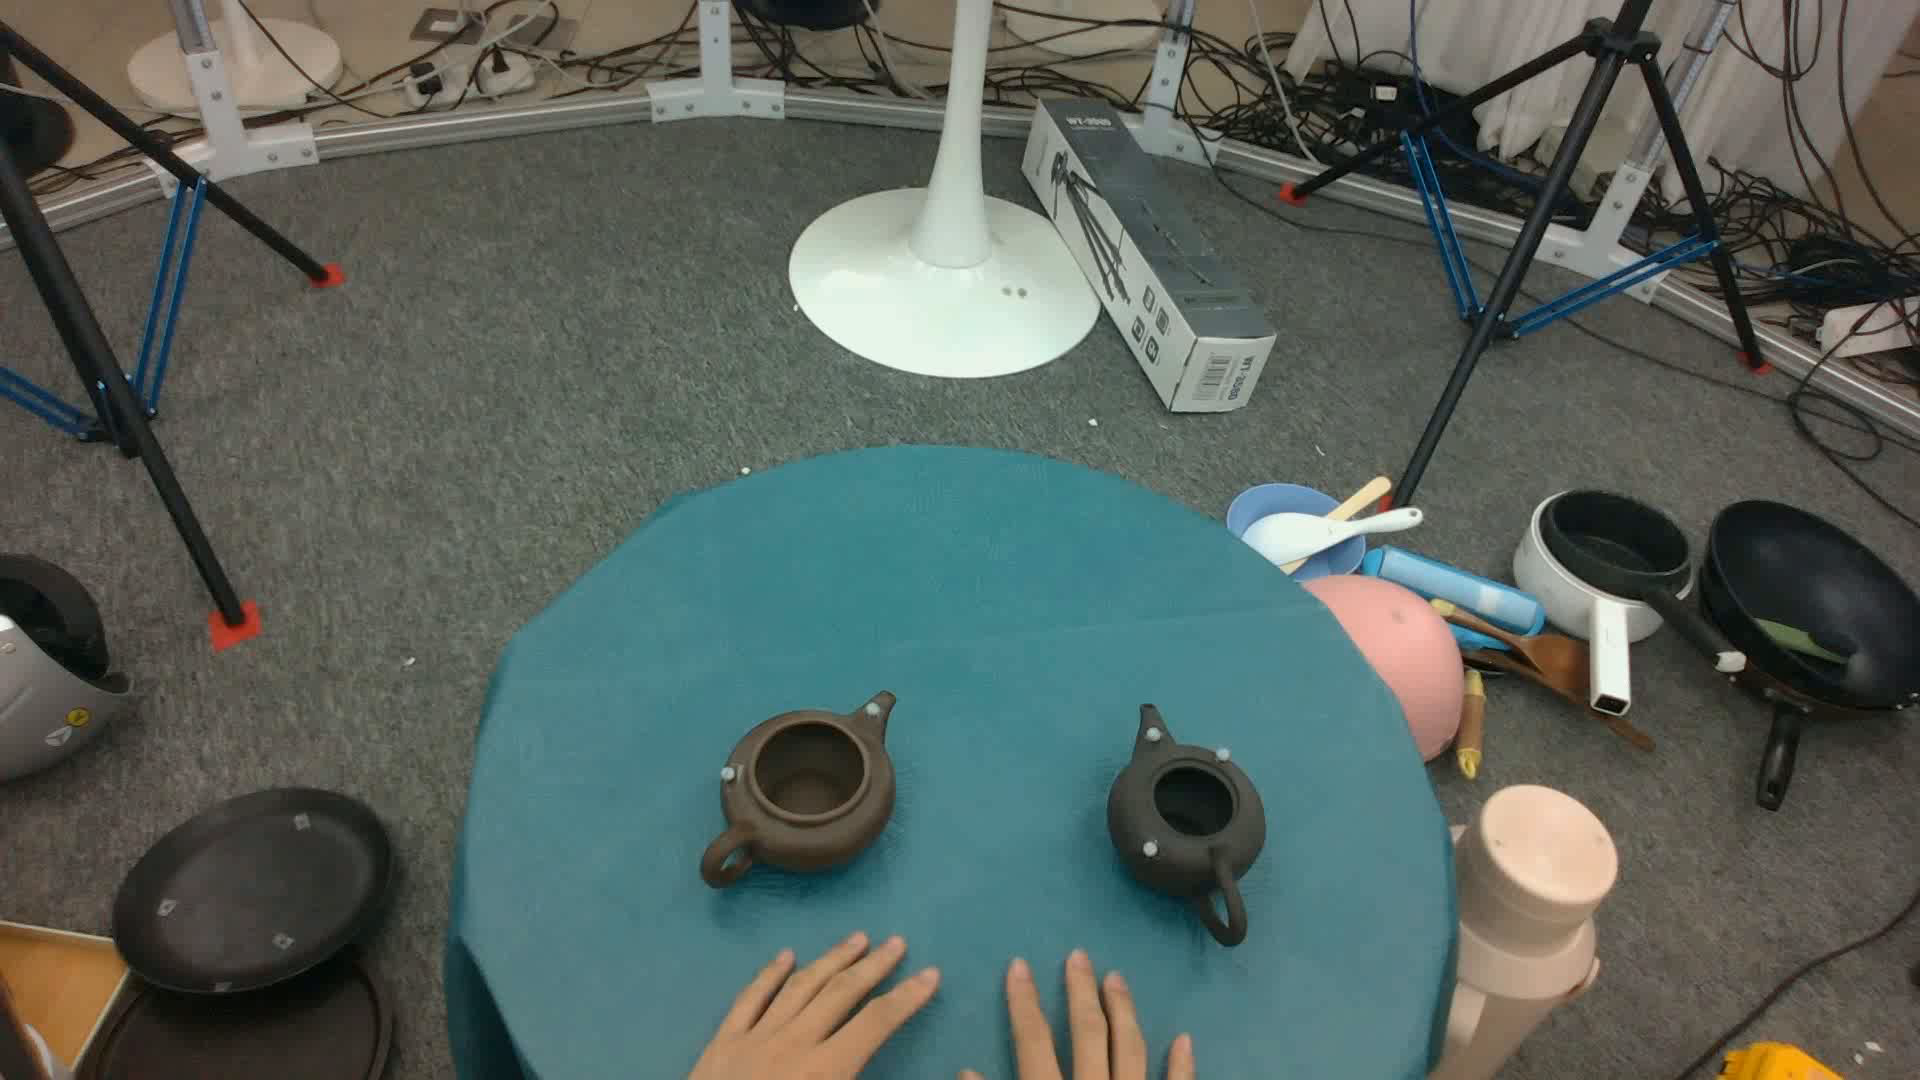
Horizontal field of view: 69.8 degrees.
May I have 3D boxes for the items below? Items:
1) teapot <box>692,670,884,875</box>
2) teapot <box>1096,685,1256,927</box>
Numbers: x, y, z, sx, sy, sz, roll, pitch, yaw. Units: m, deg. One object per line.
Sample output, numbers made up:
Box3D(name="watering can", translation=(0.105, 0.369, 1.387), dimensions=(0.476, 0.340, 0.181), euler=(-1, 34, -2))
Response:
Box3D(name="teapot", translation=(-0.098, 0.137, 0.801), dimensions=(0.102, 0.053, 0.154), euler=(28, 49, 19))
Box3D(name="teapot", translation=(0.127, 0.157, 0.810), dimensions=(0.092, 0.064, 0.155), euler=(-8, 49, -13))
